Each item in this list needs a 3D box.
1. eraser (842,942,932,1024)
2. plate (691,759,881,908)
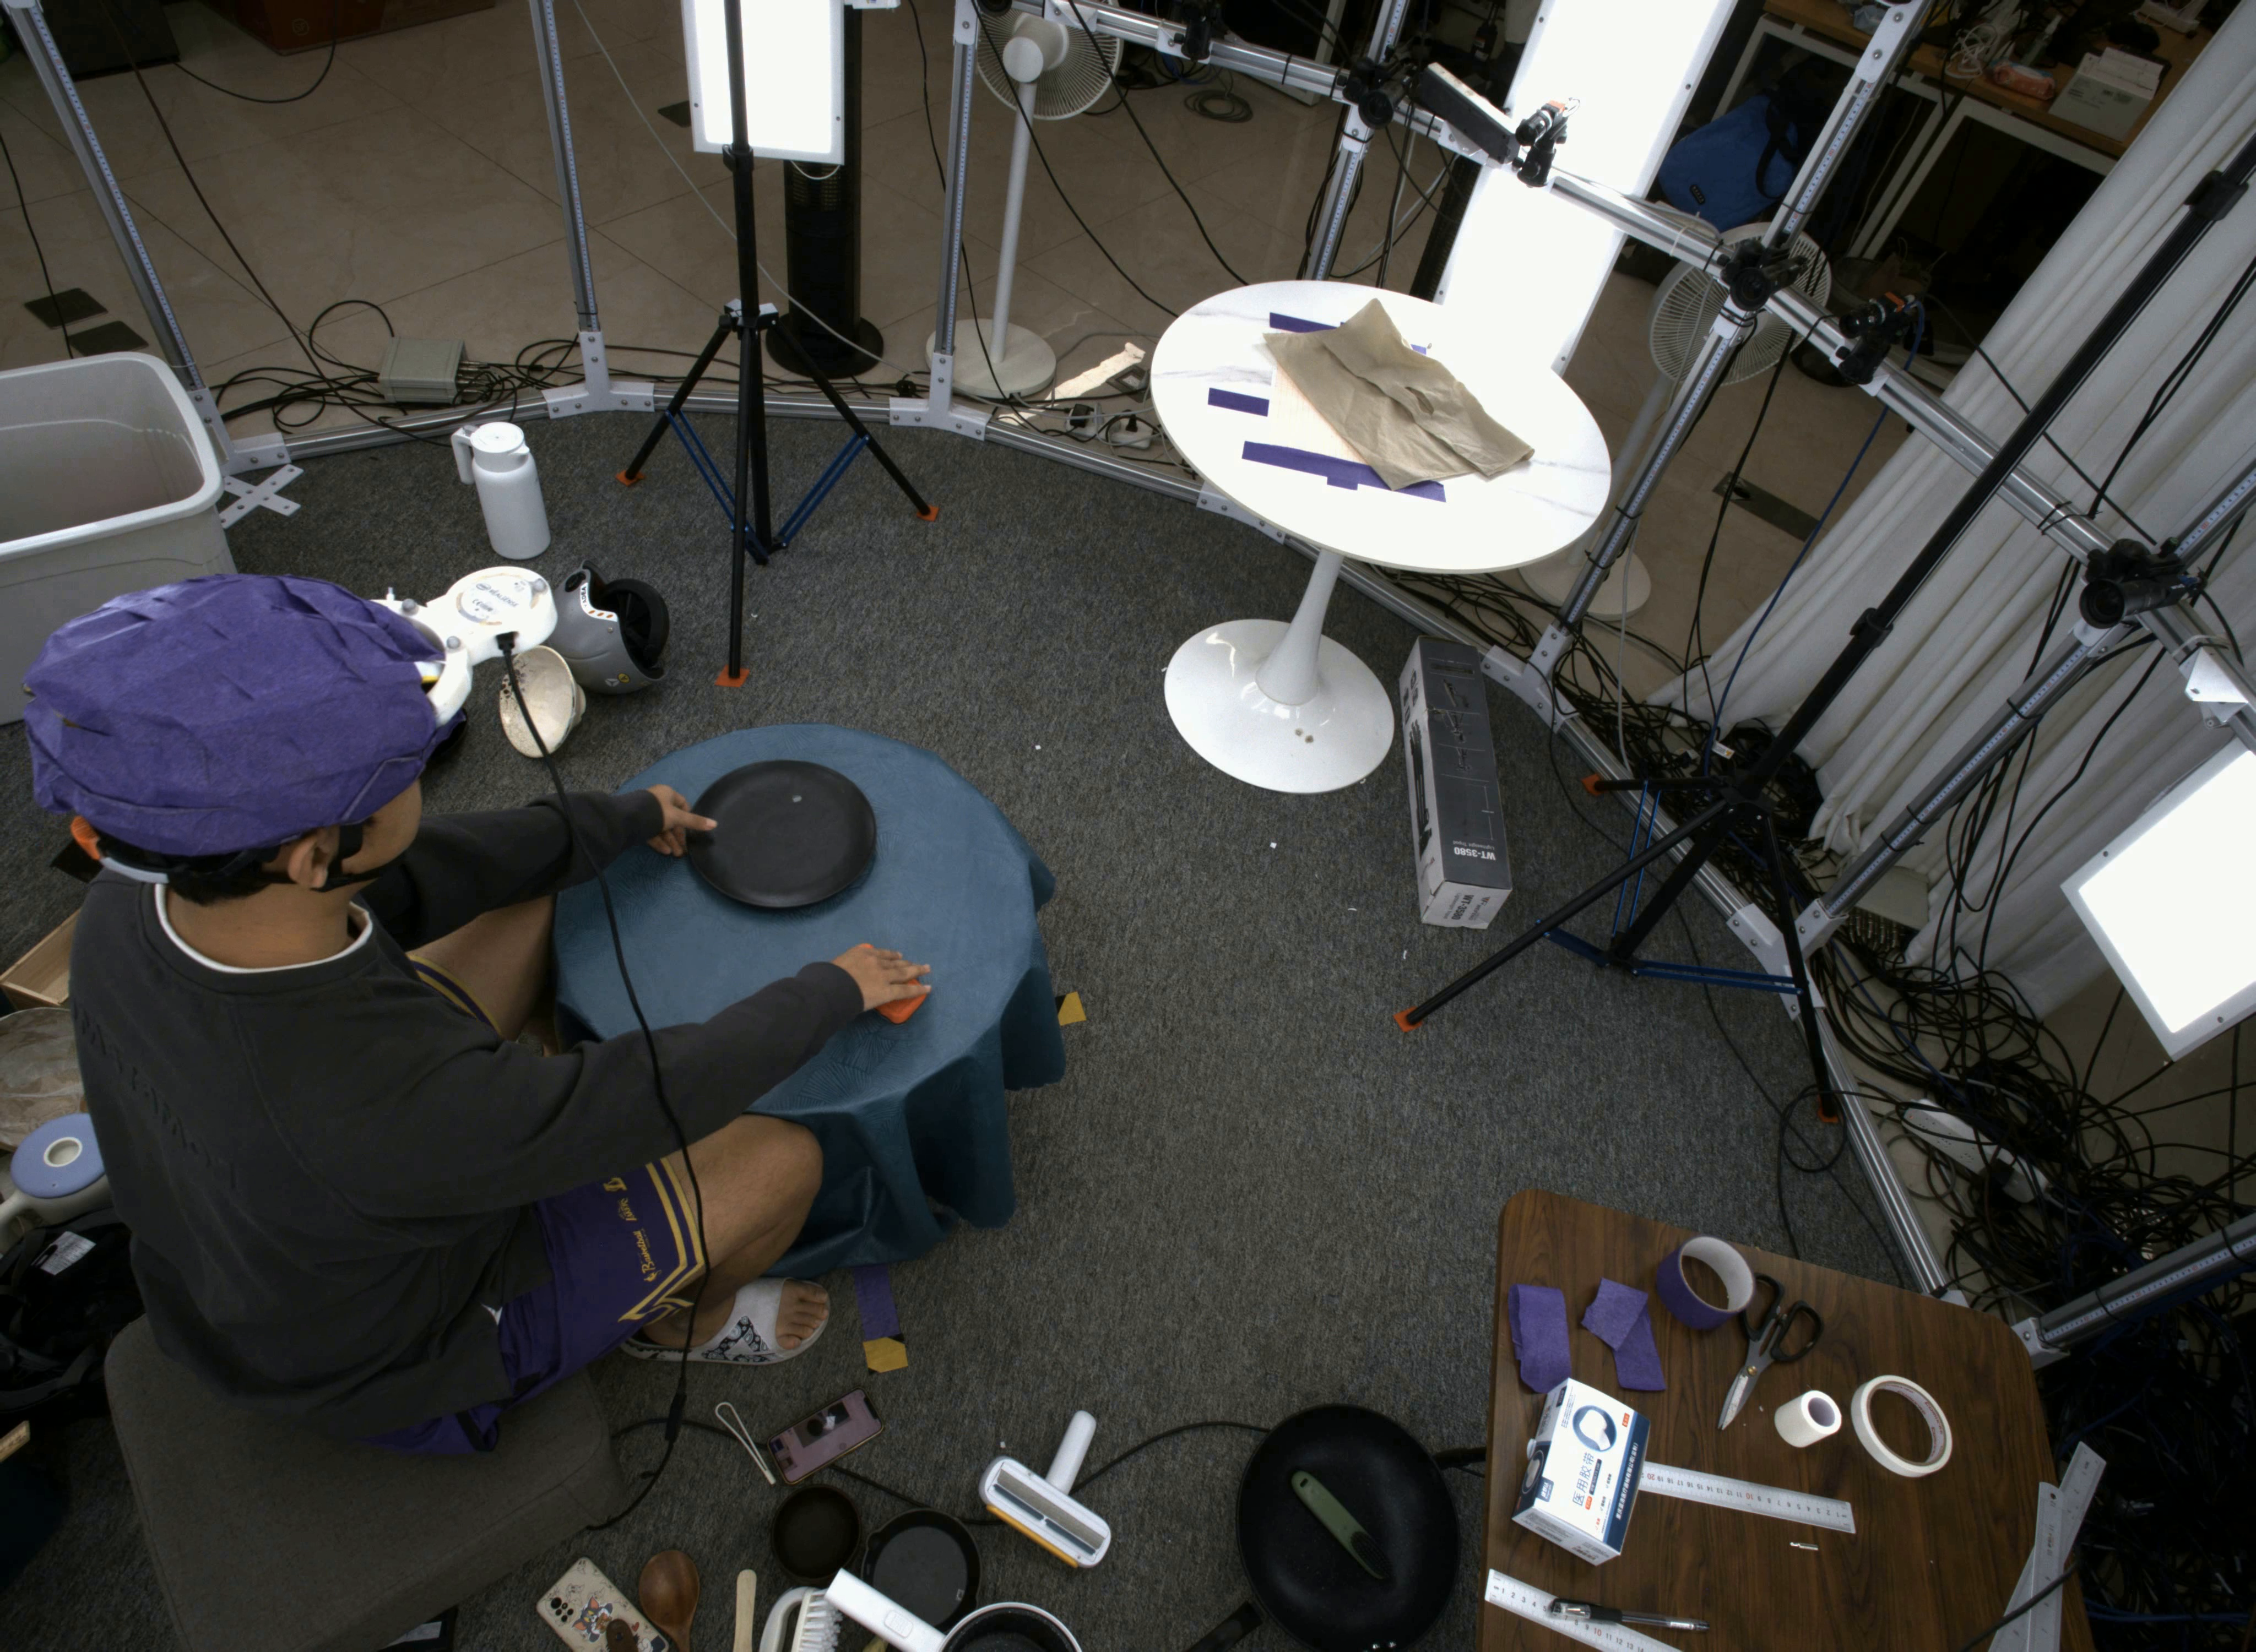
[{"bbox_3d":[-0.297,0.190,1.600,0.106,0.023,0.059,34,52,14],"label":"eraser"},{"bbox_3d":[-0.447,0.011,1.700,0.244,0.024,0.240,8,52,-9],"label":"plate"}]
